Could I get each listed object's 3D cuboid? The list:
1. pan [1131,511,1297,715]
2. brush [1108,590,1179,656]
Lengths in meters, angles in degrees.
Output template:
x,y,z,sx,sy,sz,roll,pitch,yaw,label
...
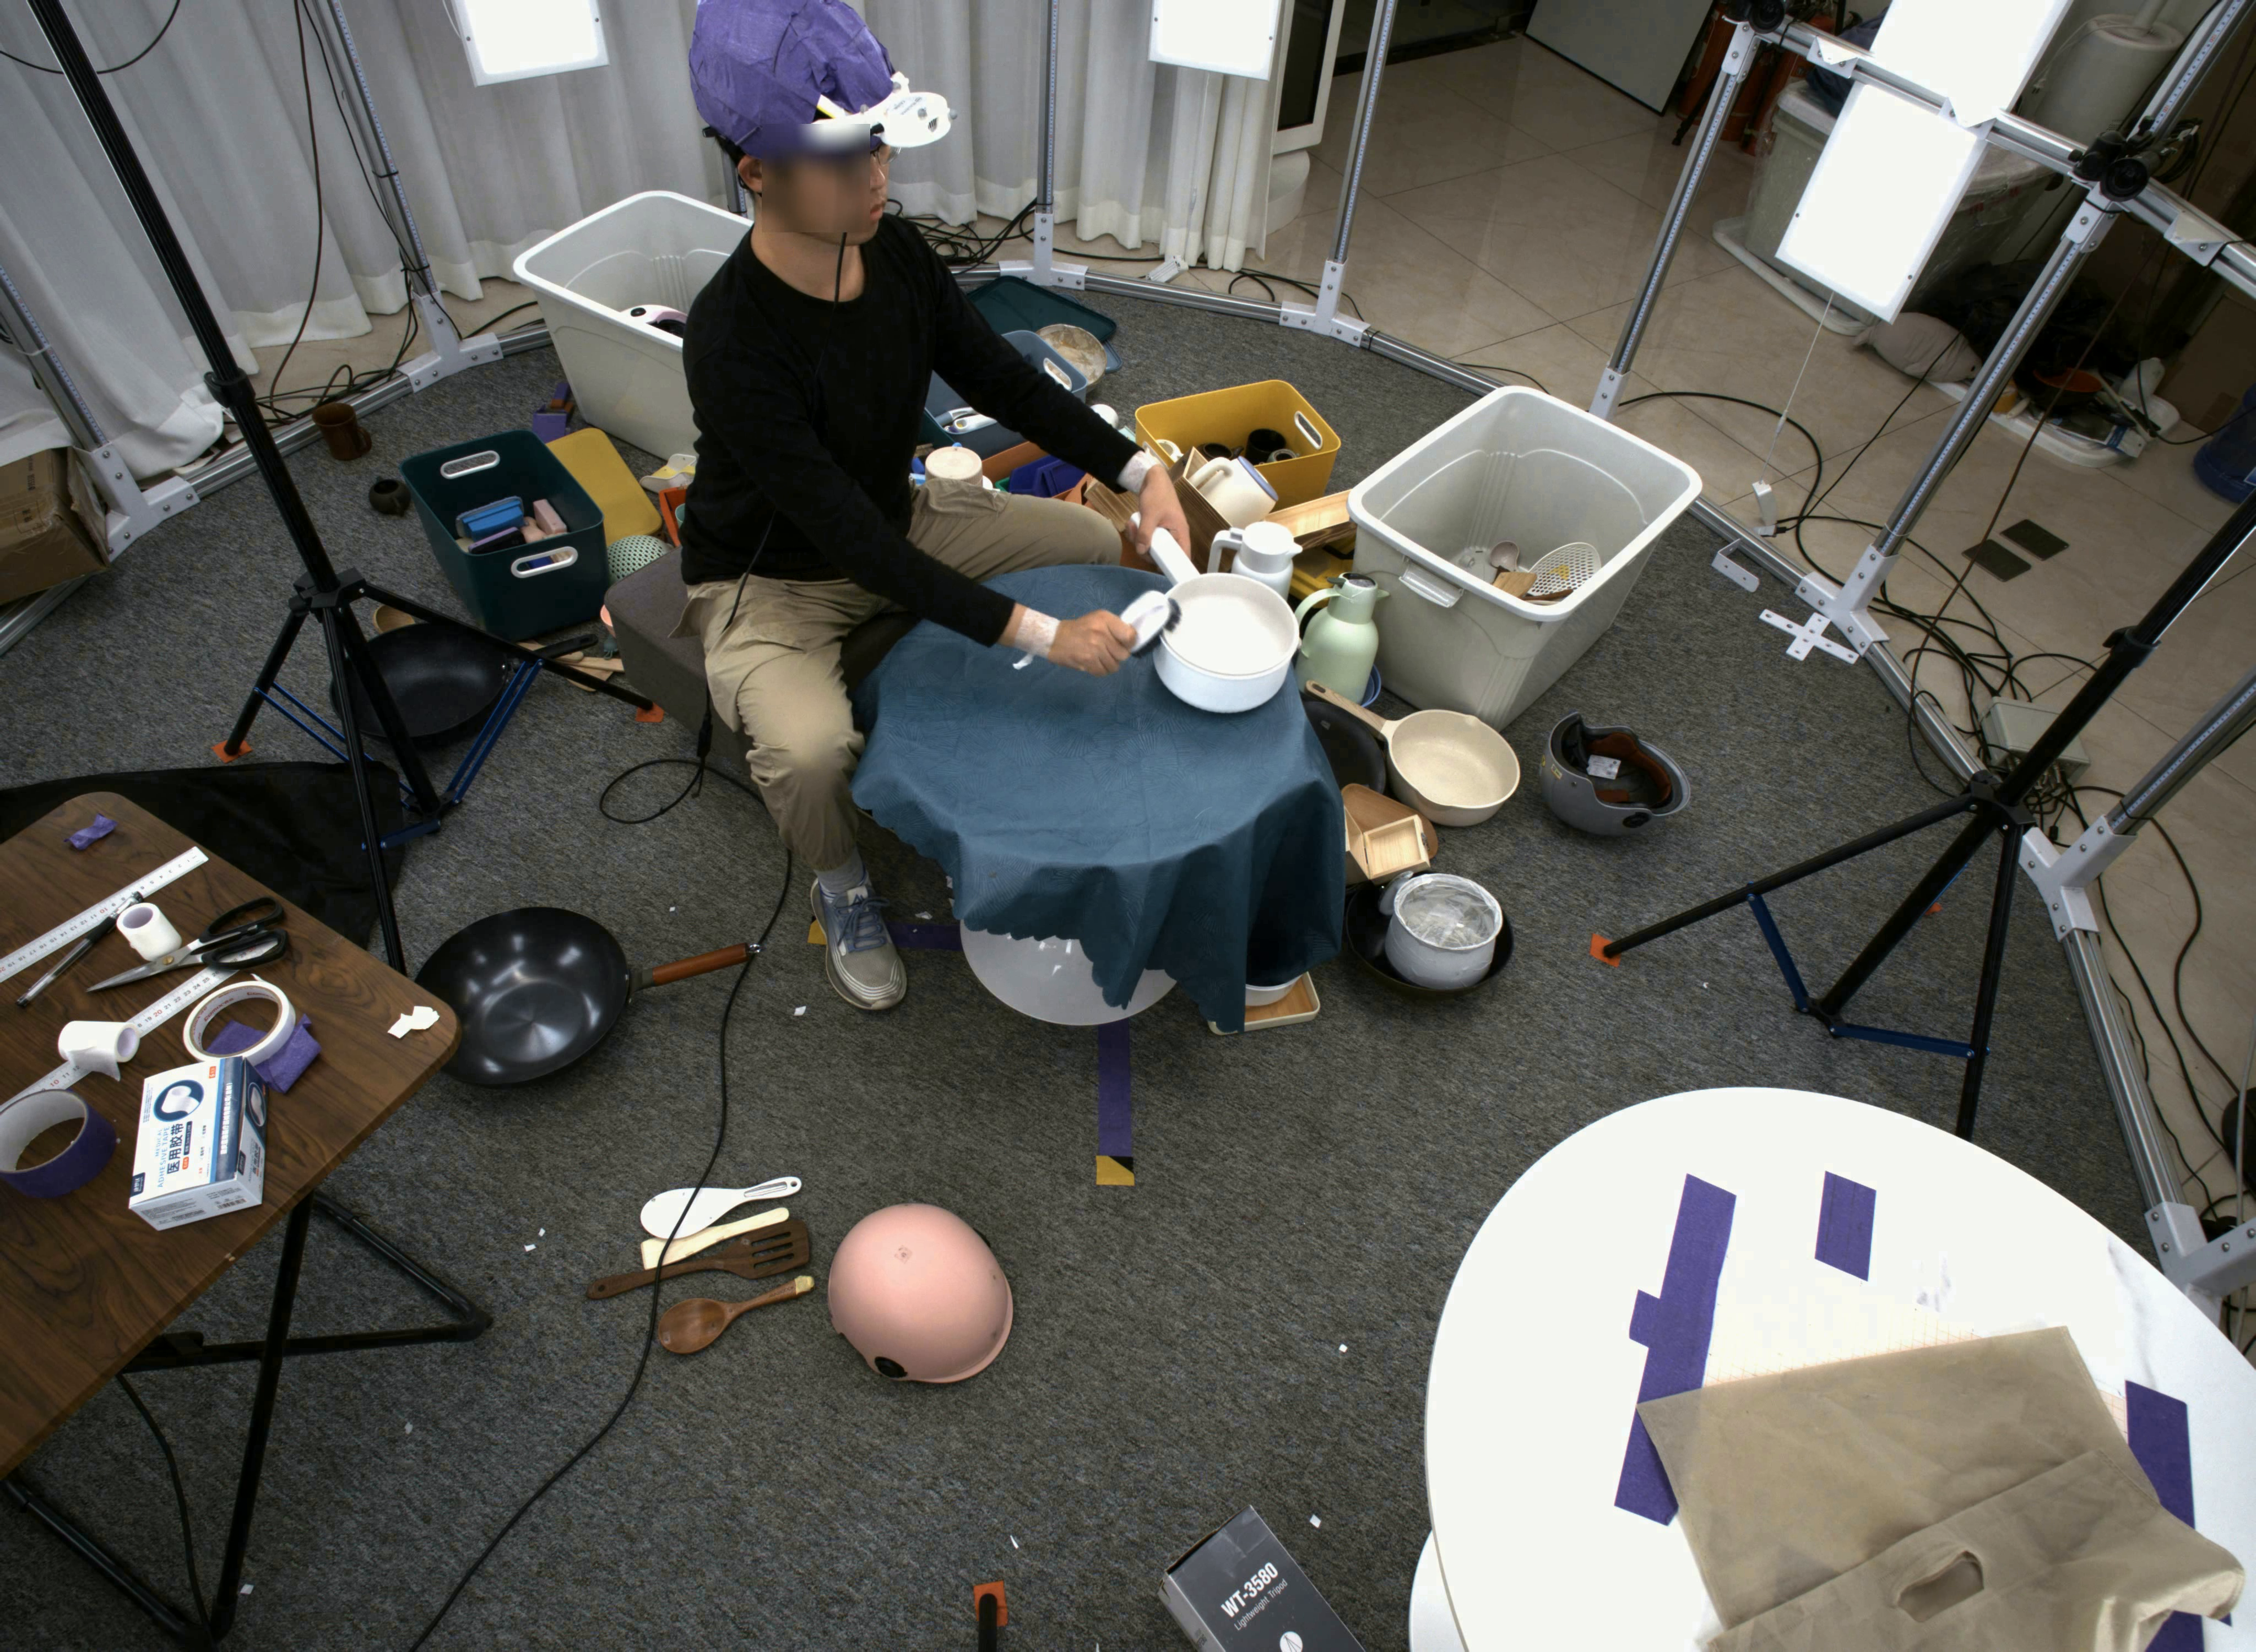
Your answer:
x,y,z,sx,sy,sz,roll,pitch,yaw,label
0.099,-0.311,1.873,0.201,0.100,0.362,-21,57,-18,pan
0.014,-0.282,1.761,0.072,0.098,0.051,15,37,-56,brush
